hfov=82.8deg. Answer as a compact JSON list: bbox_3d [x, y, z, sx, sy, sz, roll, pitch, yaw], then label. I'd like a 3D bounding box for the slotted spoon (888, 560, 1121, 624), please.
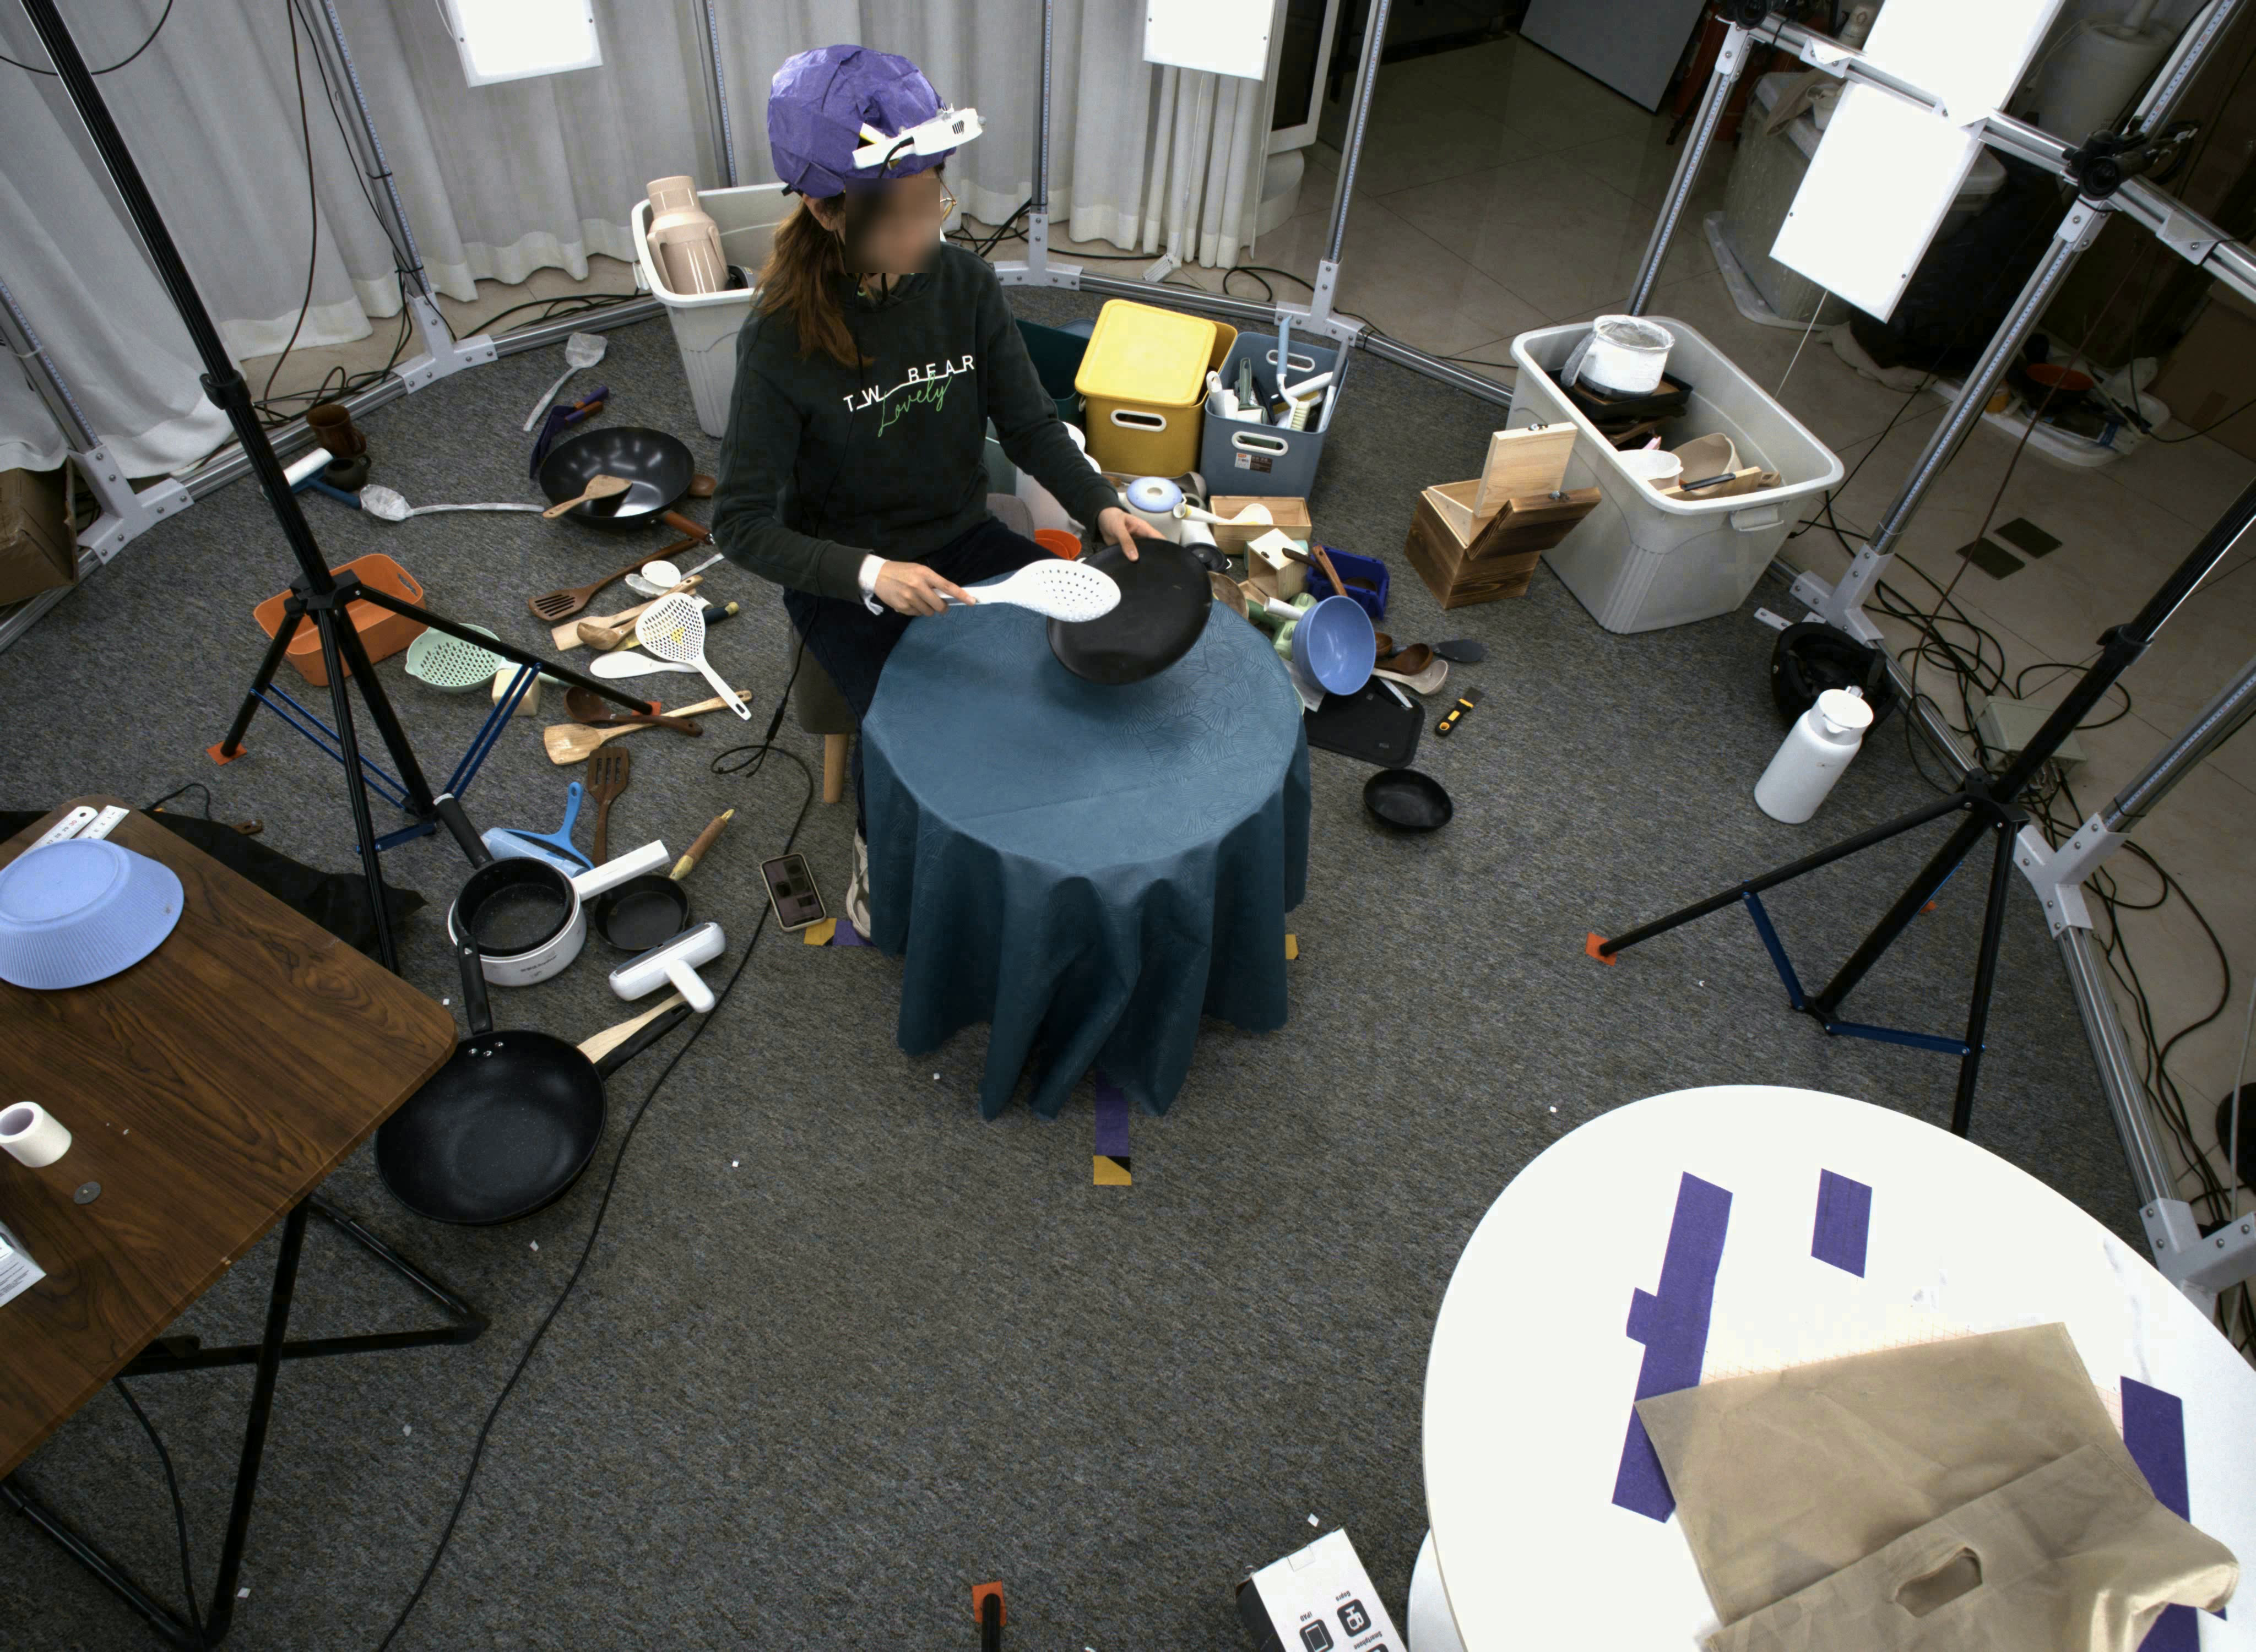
[{"bbox_3d":[-0.175,-0.312,1.753,0.351,0.133,0.046,7,69,26],"label":"slotted spoon"}]

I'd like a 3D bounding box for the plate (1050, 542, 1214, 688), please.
[{"bbox_3d":[0.006,-0.296,1.816,0.244,0.023,0.249,-9,60,16],"label":"plate"}]
